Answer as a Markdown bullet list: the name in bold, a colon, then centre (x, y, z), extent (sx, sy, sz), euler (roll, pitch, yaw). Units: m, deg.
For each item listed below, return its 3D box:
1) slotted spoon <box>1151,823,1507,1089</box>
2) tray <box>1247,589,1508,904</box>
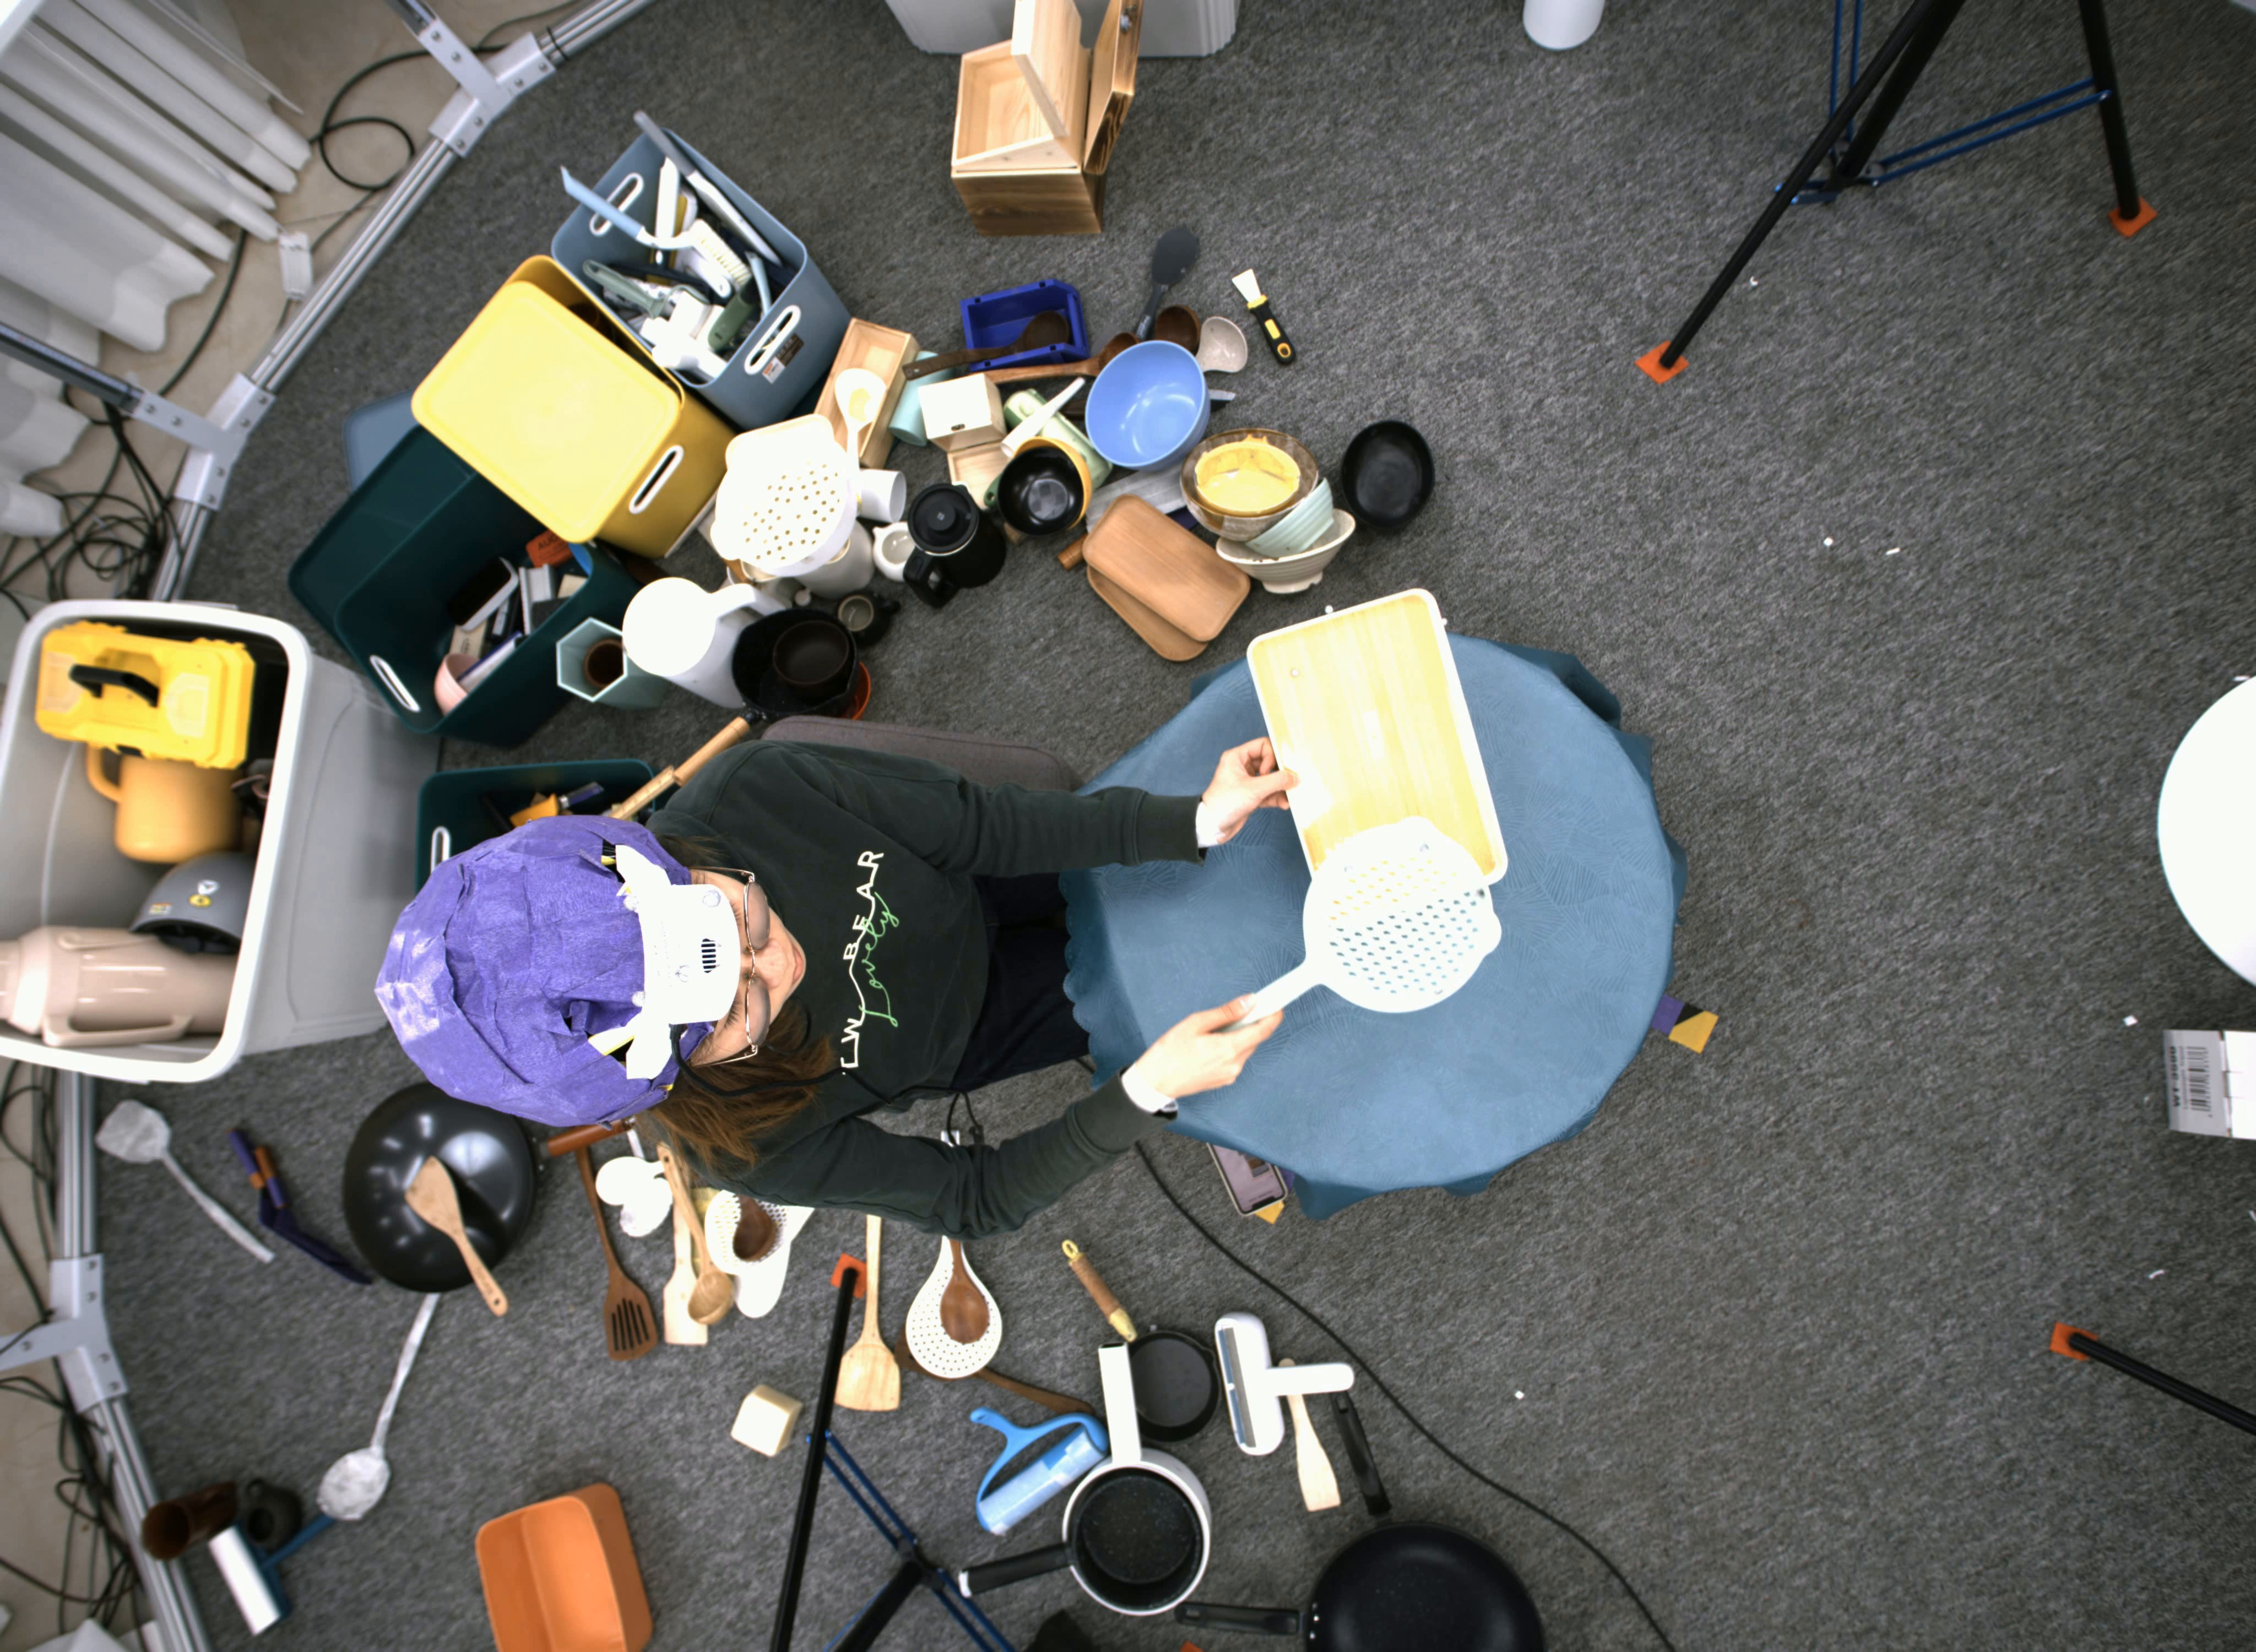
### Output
- **slotted spoon**: centre (0.170, 0.141, 1.269), extent (0.360, 0.076, 0.167), euler (-31, 66, 4)
- **tray**: centre (0.246, -0.066, 1.355), extent (0.192, 0.027, 0.302), euler (-17, 99, 3)
